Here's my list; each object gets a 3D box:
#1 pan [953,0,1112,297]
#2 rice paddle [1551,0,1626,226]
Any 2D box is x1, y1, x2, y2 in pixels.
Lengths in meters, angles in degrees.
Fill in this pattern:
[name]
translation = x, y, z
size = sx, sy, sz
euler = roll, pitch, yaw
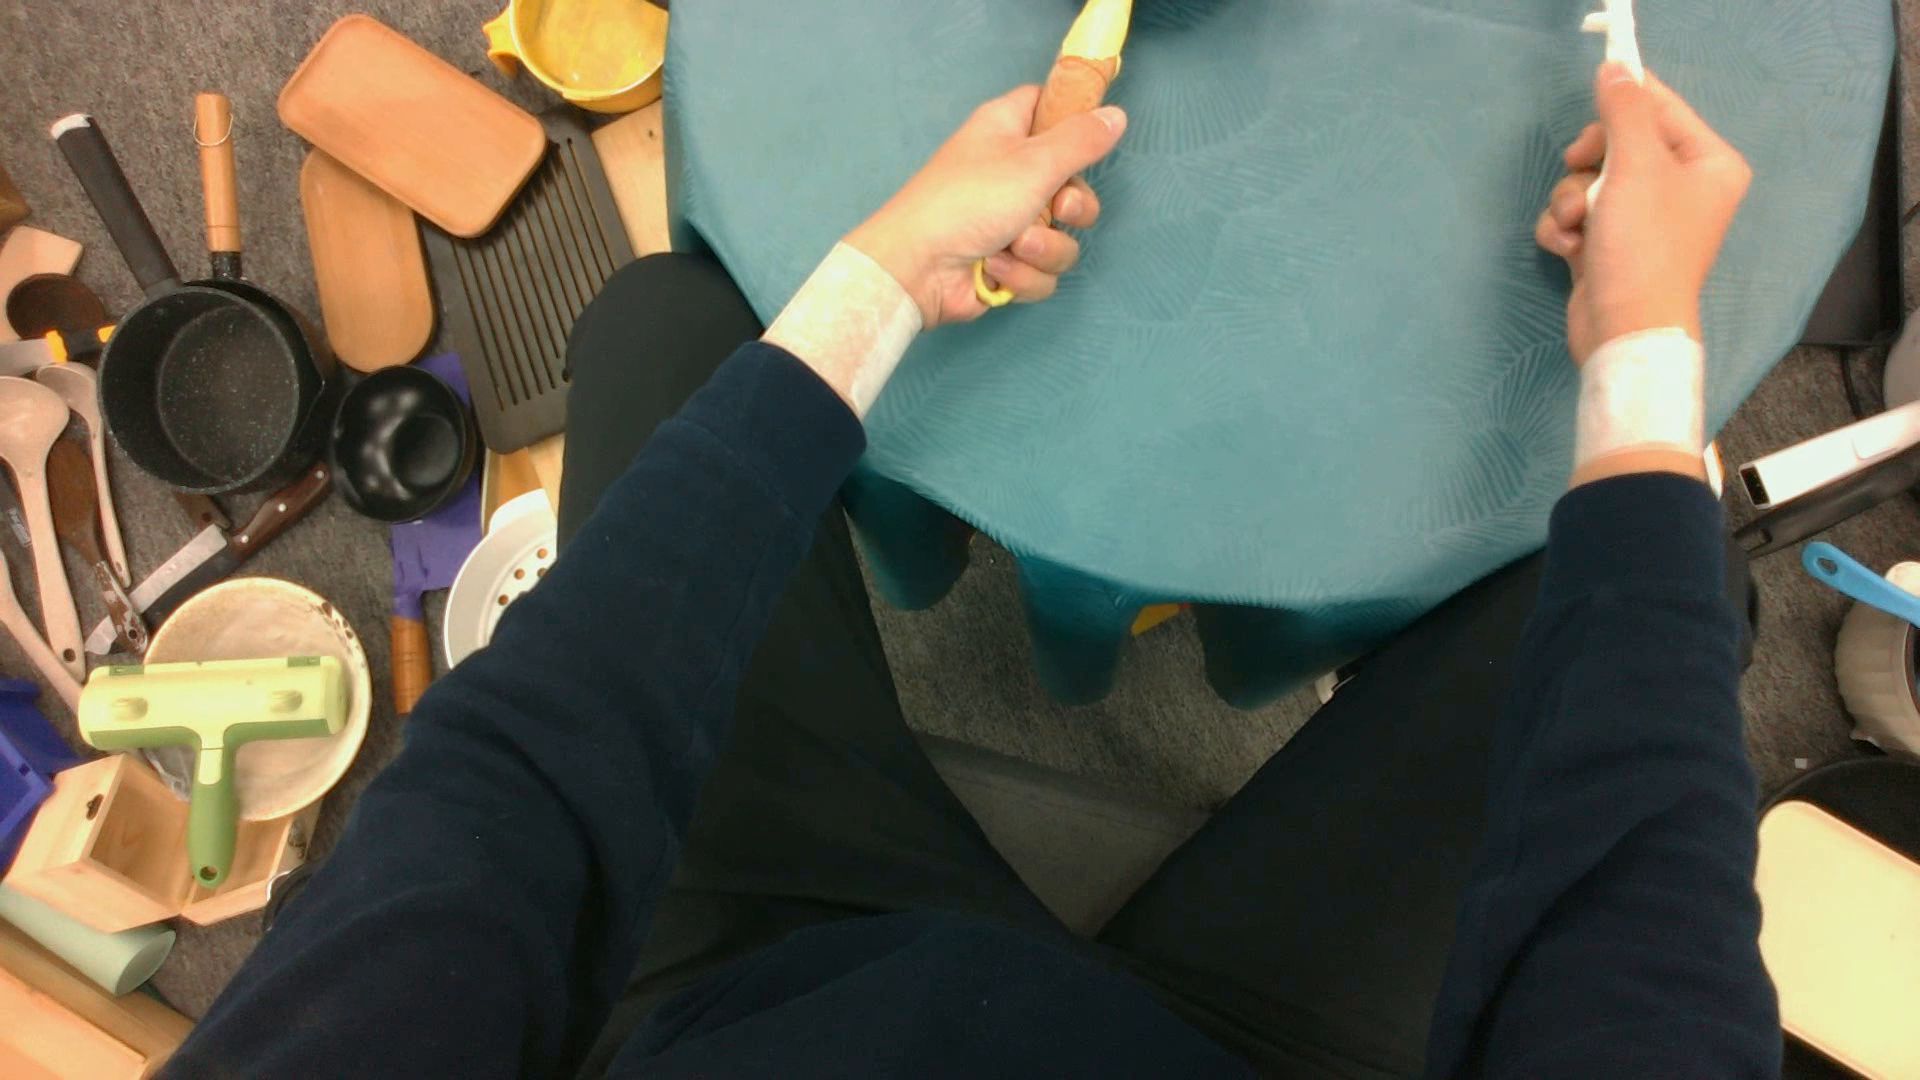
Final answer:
[pan]
translation = 0.061, -0.258, 0.649
size = 0.169, 0.049, 0.324
euler = 22, 81, 3
[rice paddle]
translation = 0.290, -0.249, 0.638
size = 0.029, 0.069, 0.205
euler = 0, 84, 13
